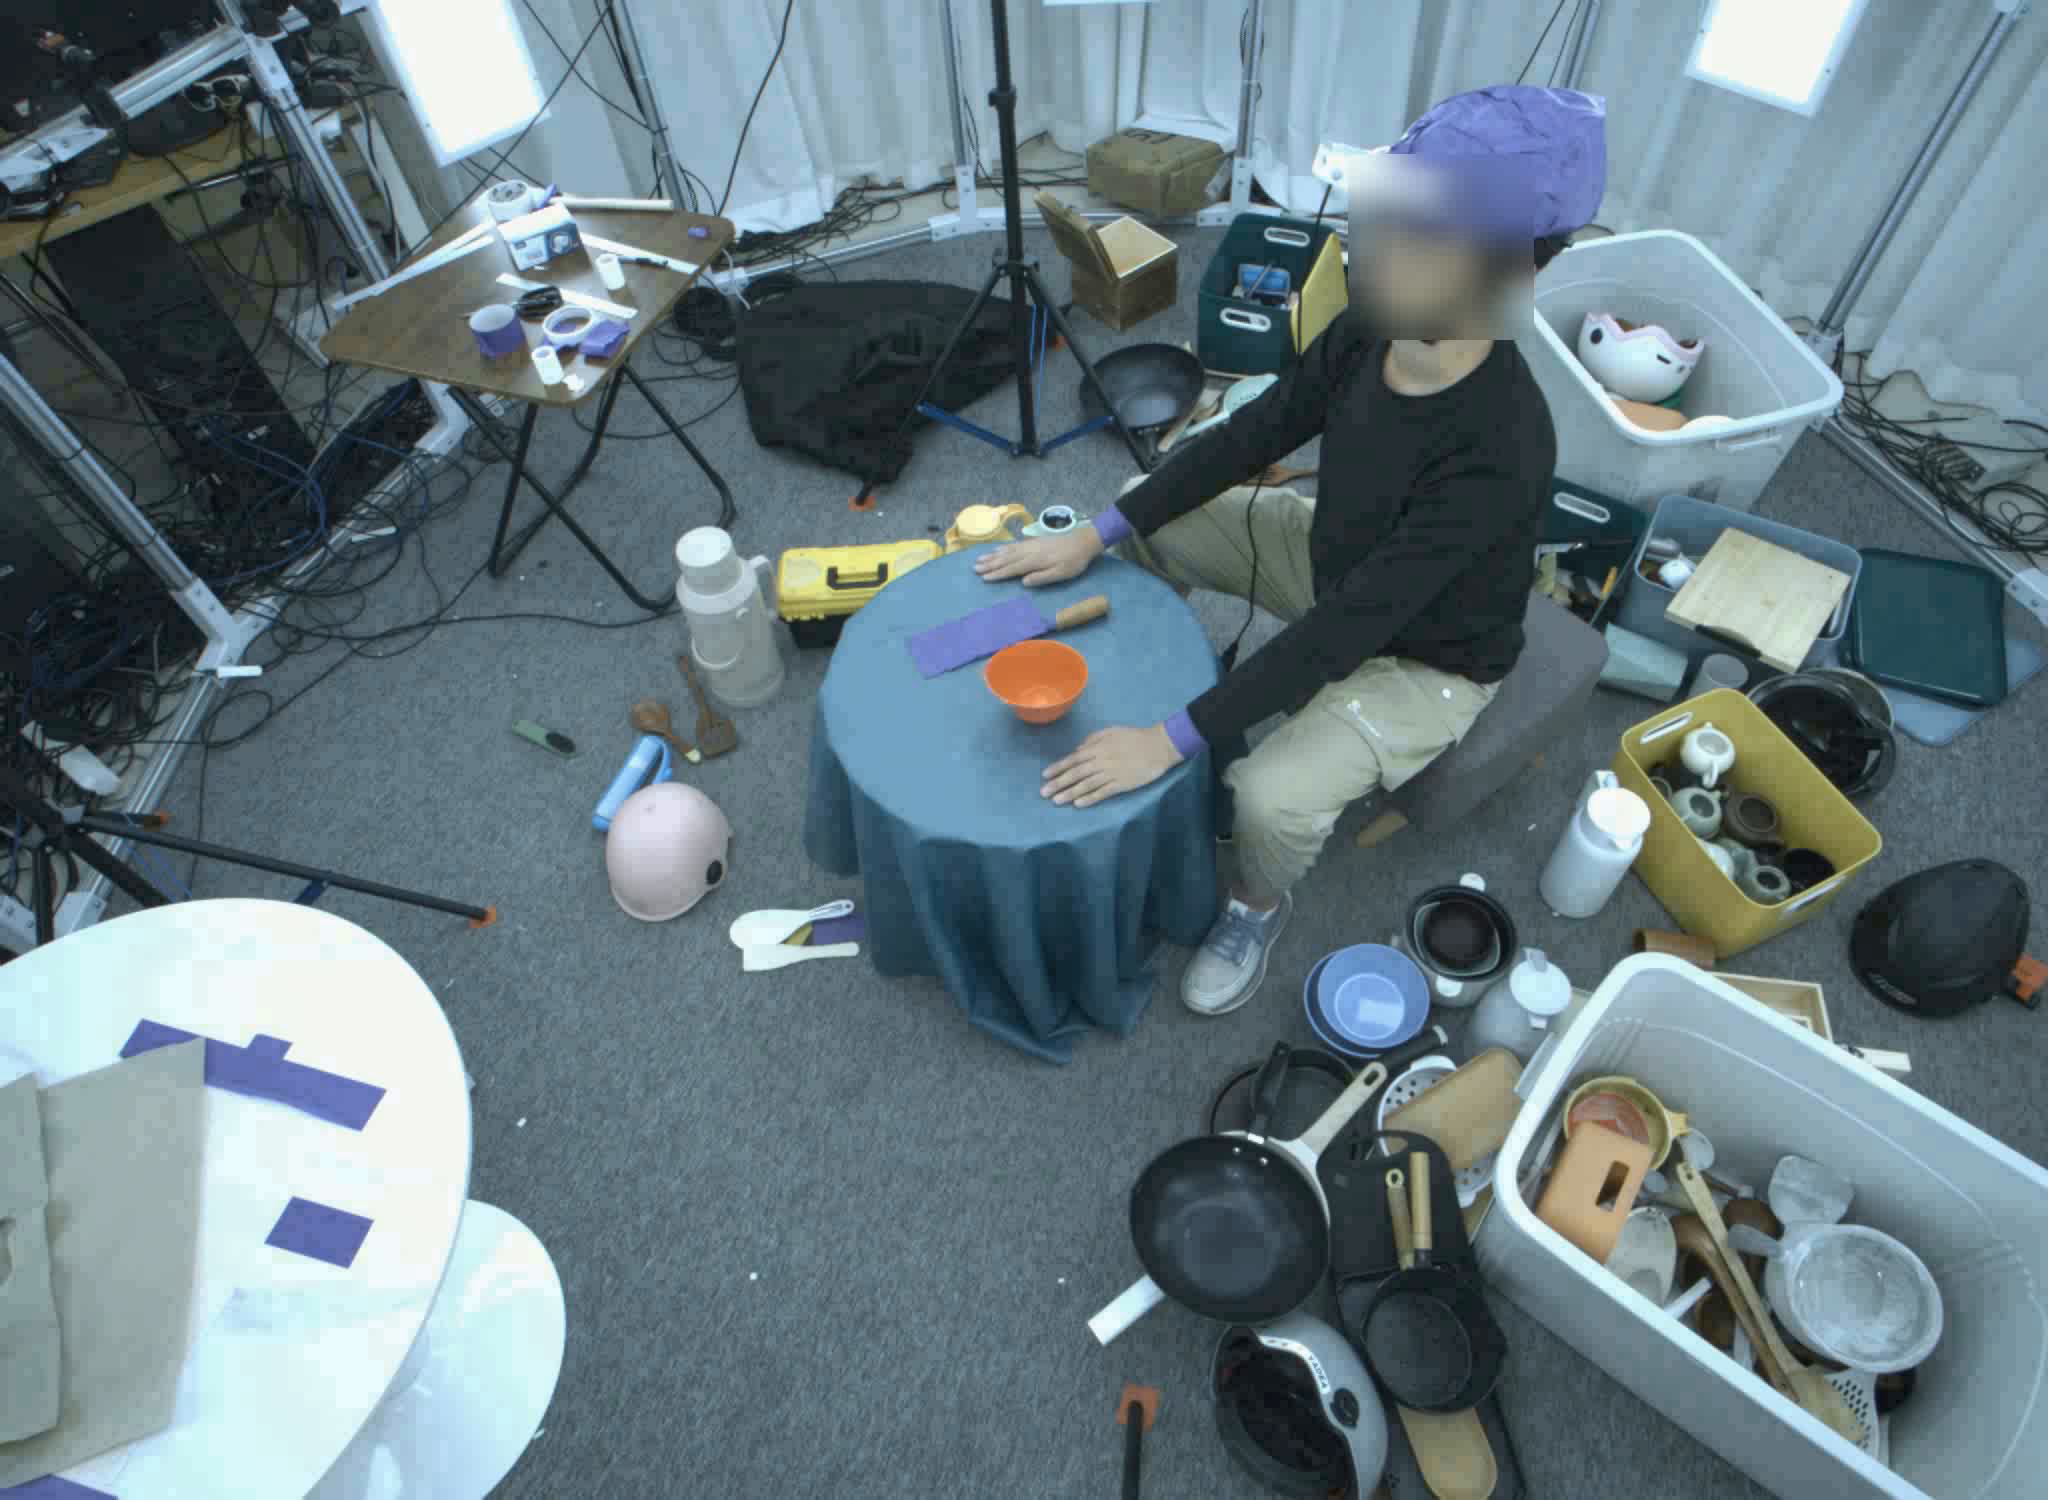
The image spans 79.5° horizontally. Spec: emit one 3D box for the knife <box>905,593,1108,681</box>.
[{"bbox_3d":[-0.030,-0.198,1.910,0.317,0.032,0.102,-21,57,-12],"label":"knife"}]

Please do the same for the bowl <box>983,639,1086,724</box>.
[{"bbox_3d":[0.019,-0.086,1.781,0.148,0.106,0.146,-2,53,4],"label":"bowl"}]
